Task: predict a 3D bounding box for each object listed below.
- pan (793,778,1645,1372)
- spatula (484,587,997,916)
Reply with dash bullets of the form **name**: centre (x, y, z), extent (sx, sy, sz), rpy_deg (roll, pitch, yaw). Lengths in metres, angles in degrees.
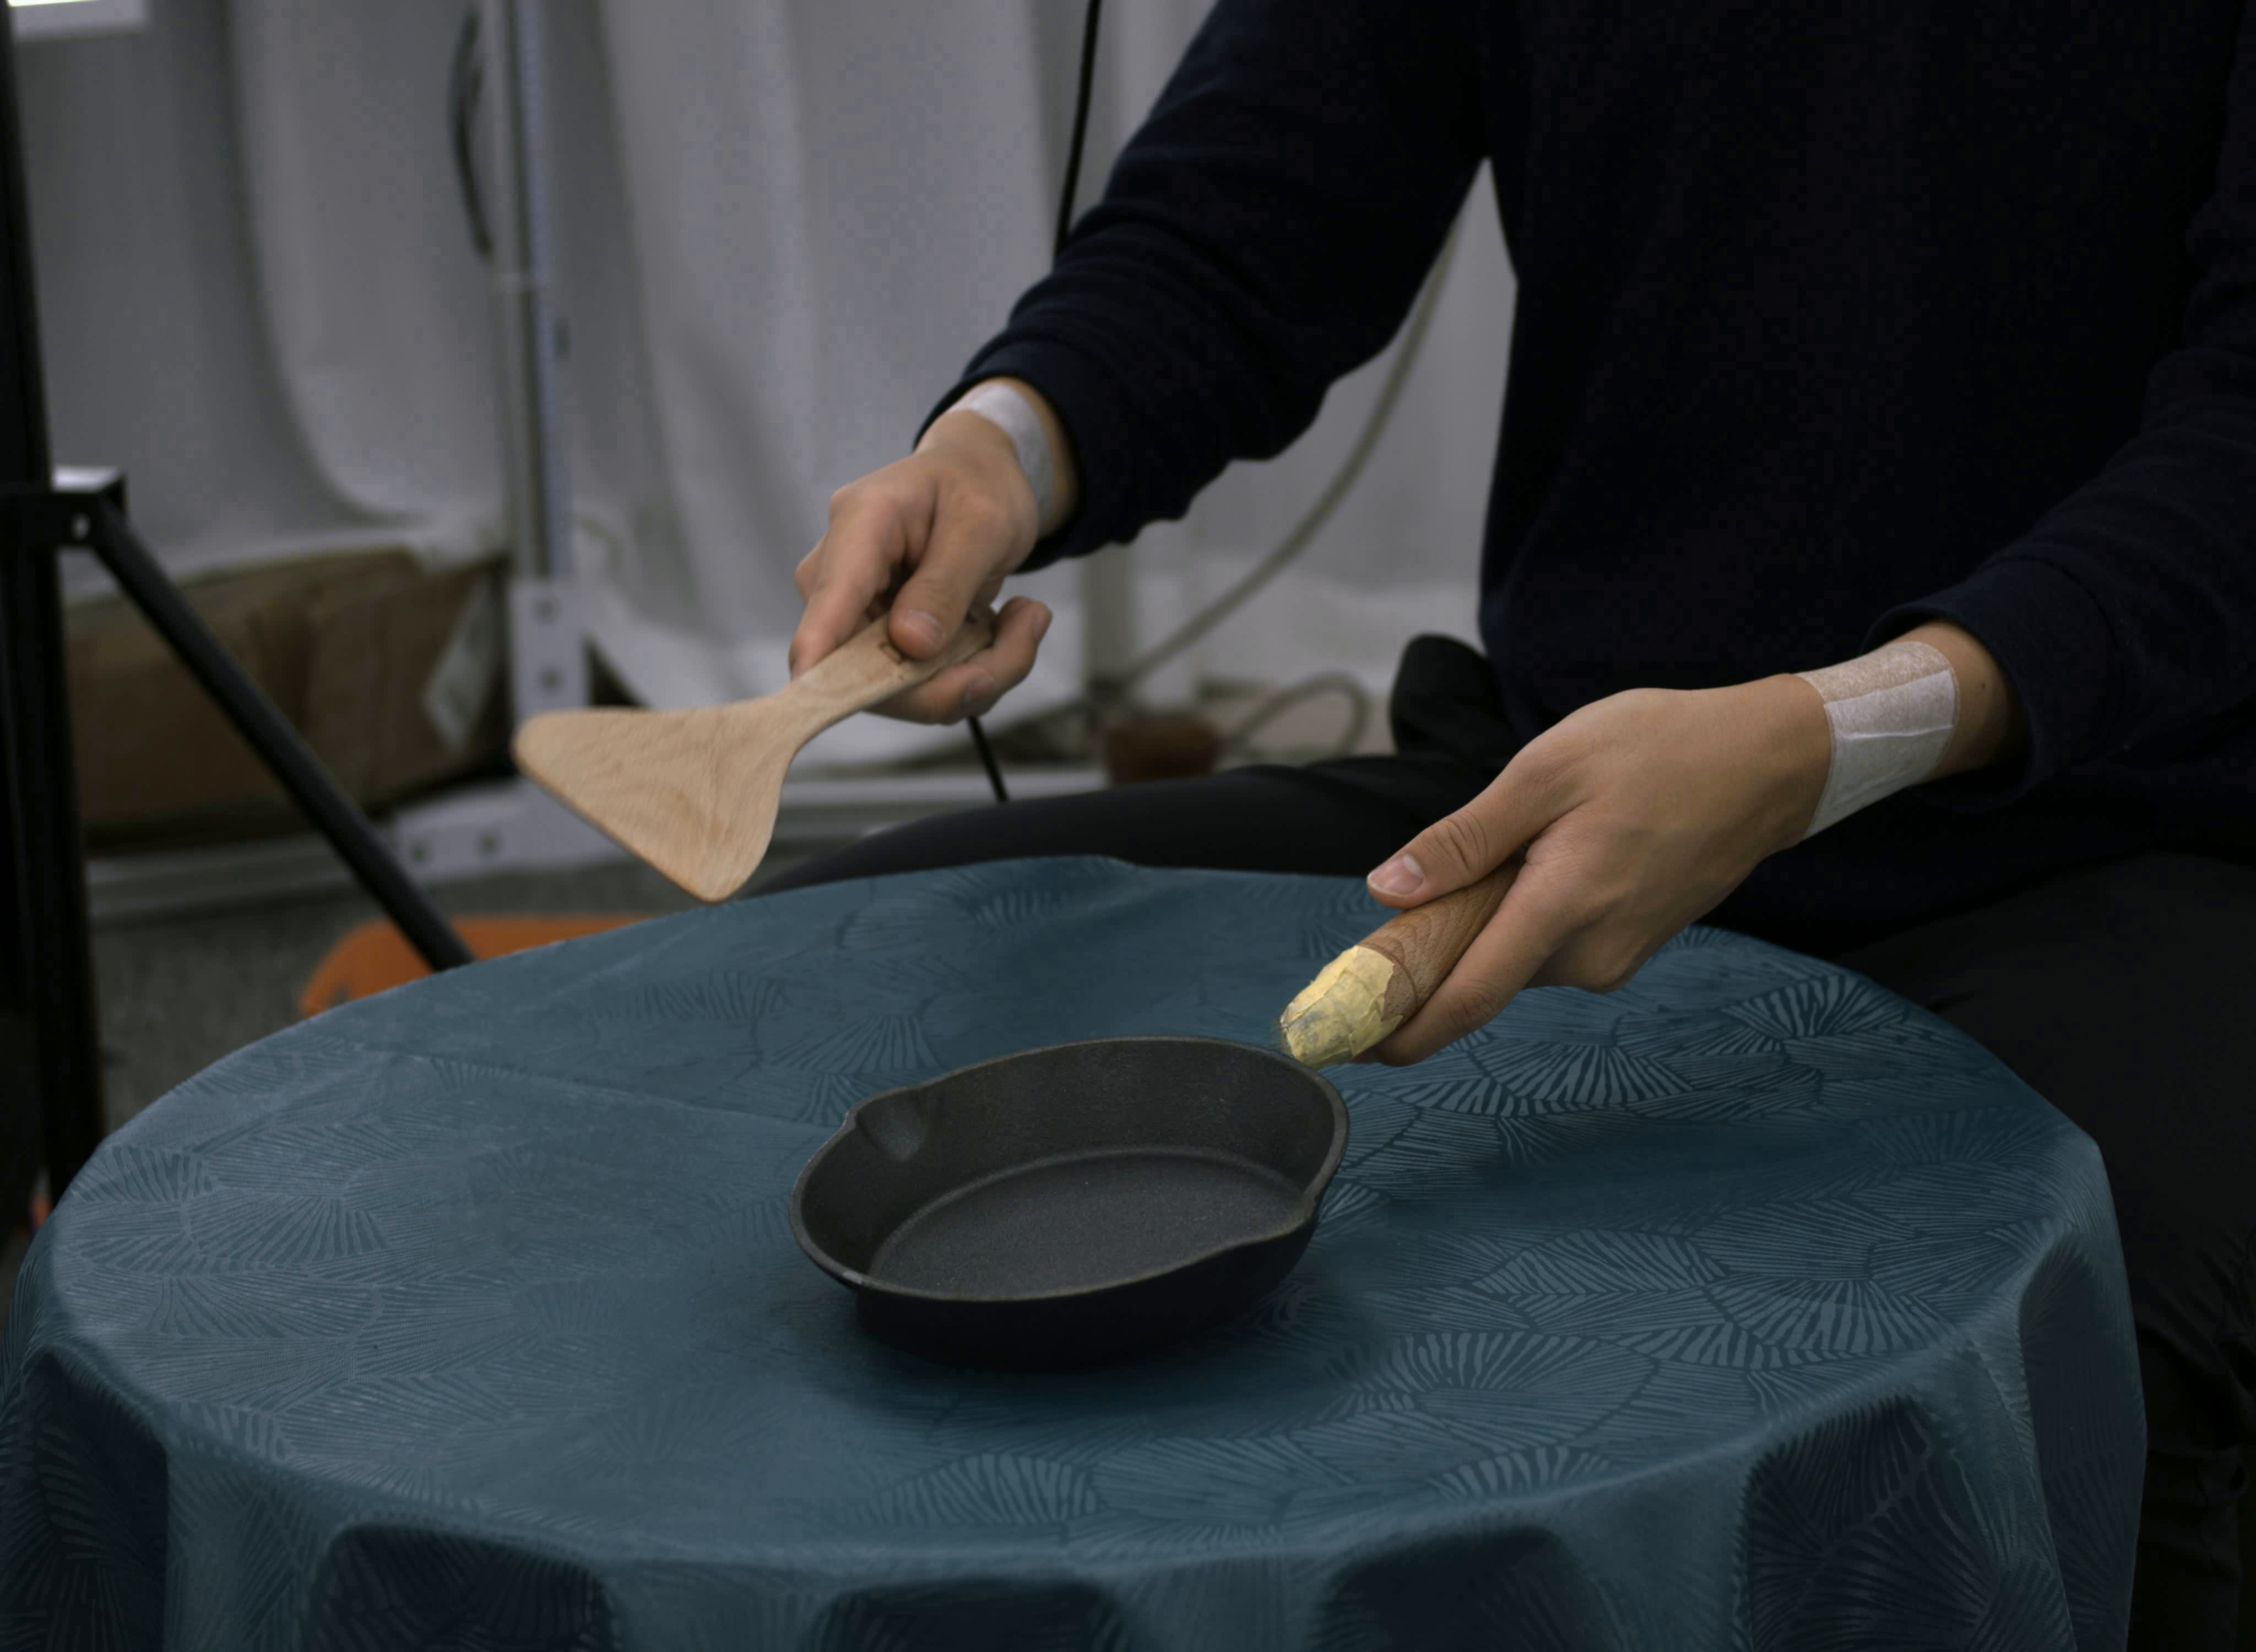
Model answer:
- **pan**: centre (0.045, 0.068, 1.515), extent (0.318, 0.049, 0.173), rpy_deg (-29, 29, -35)
- **spatula**: centre (-0.099, -0.033, 1.598), extent (0.080, 0.016, 0.324), rpy_deg (37, 23, 7)
